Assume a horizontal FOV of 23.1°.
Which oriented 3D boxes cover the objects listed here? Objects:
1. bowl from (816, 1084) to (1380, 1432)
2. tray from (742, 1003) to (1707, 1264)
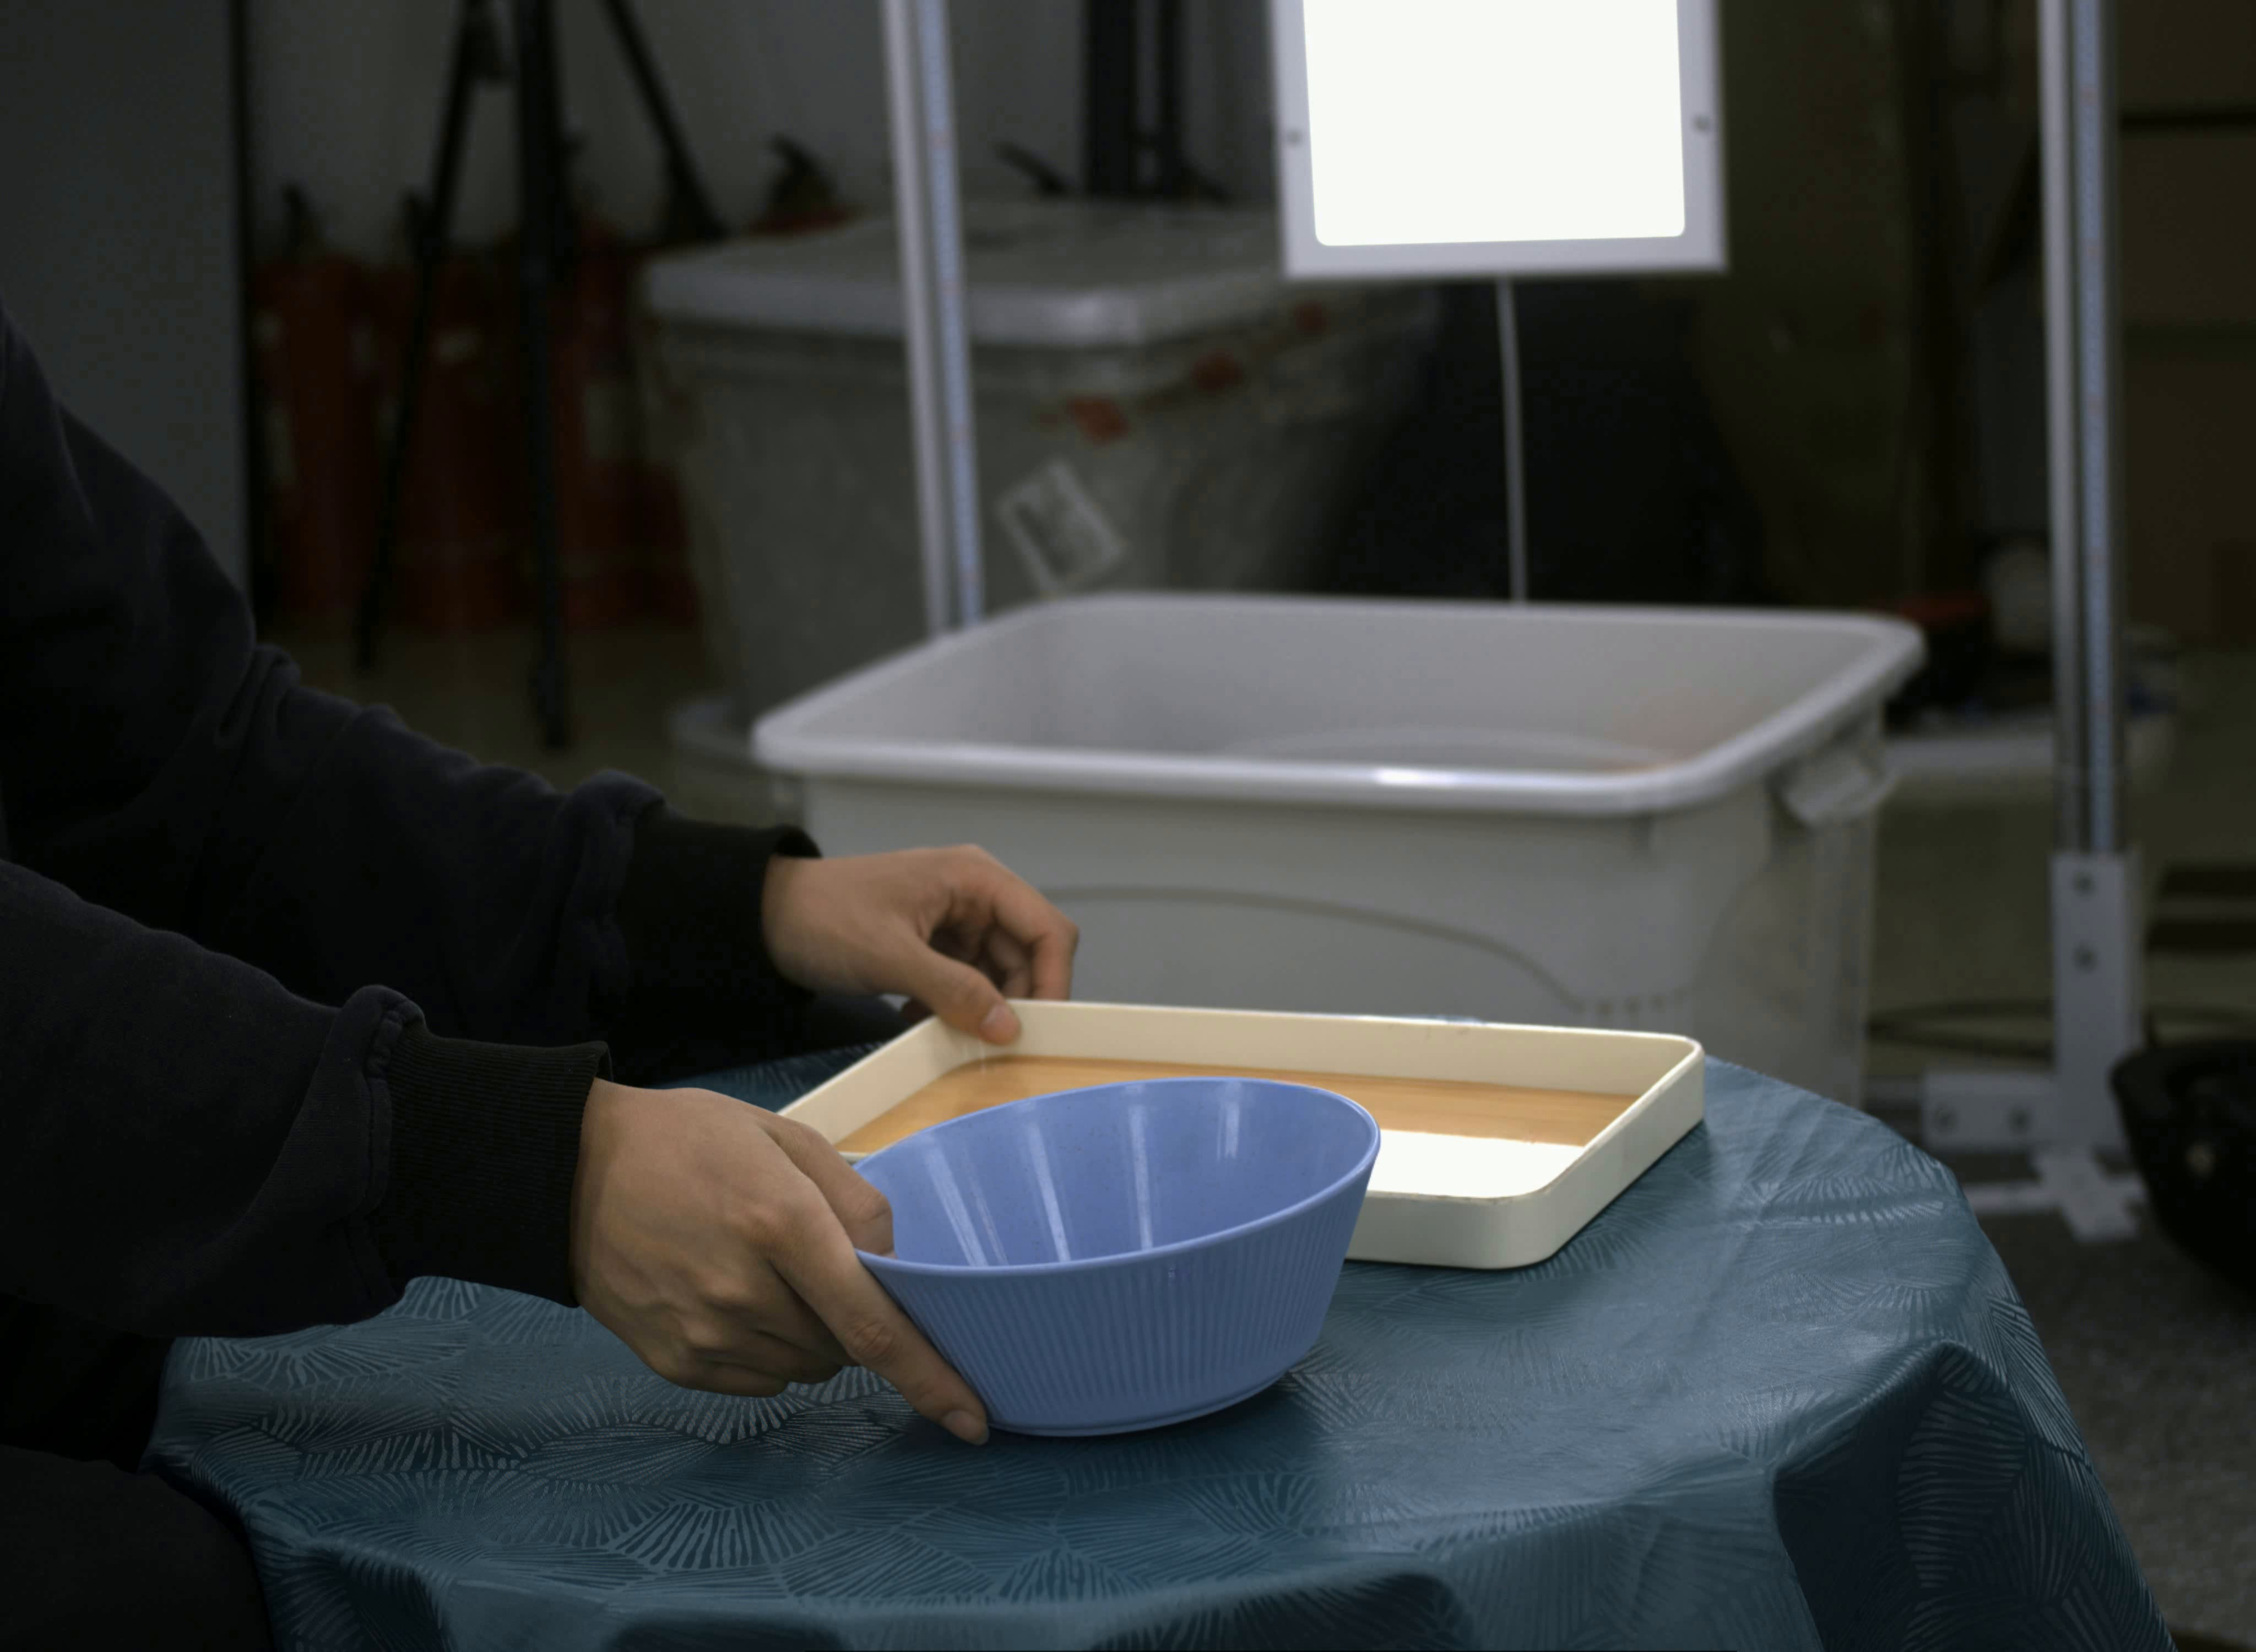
[{"bbox_3d":[-0.005,0.136,1.697,0.176,0.070,0.176,-8,14,1],"label":"bowl"},{"bbox_3d":[0.035,0.105,1.918,0.305,0.027,0.187,2,15,27],"label":"tray"}]
